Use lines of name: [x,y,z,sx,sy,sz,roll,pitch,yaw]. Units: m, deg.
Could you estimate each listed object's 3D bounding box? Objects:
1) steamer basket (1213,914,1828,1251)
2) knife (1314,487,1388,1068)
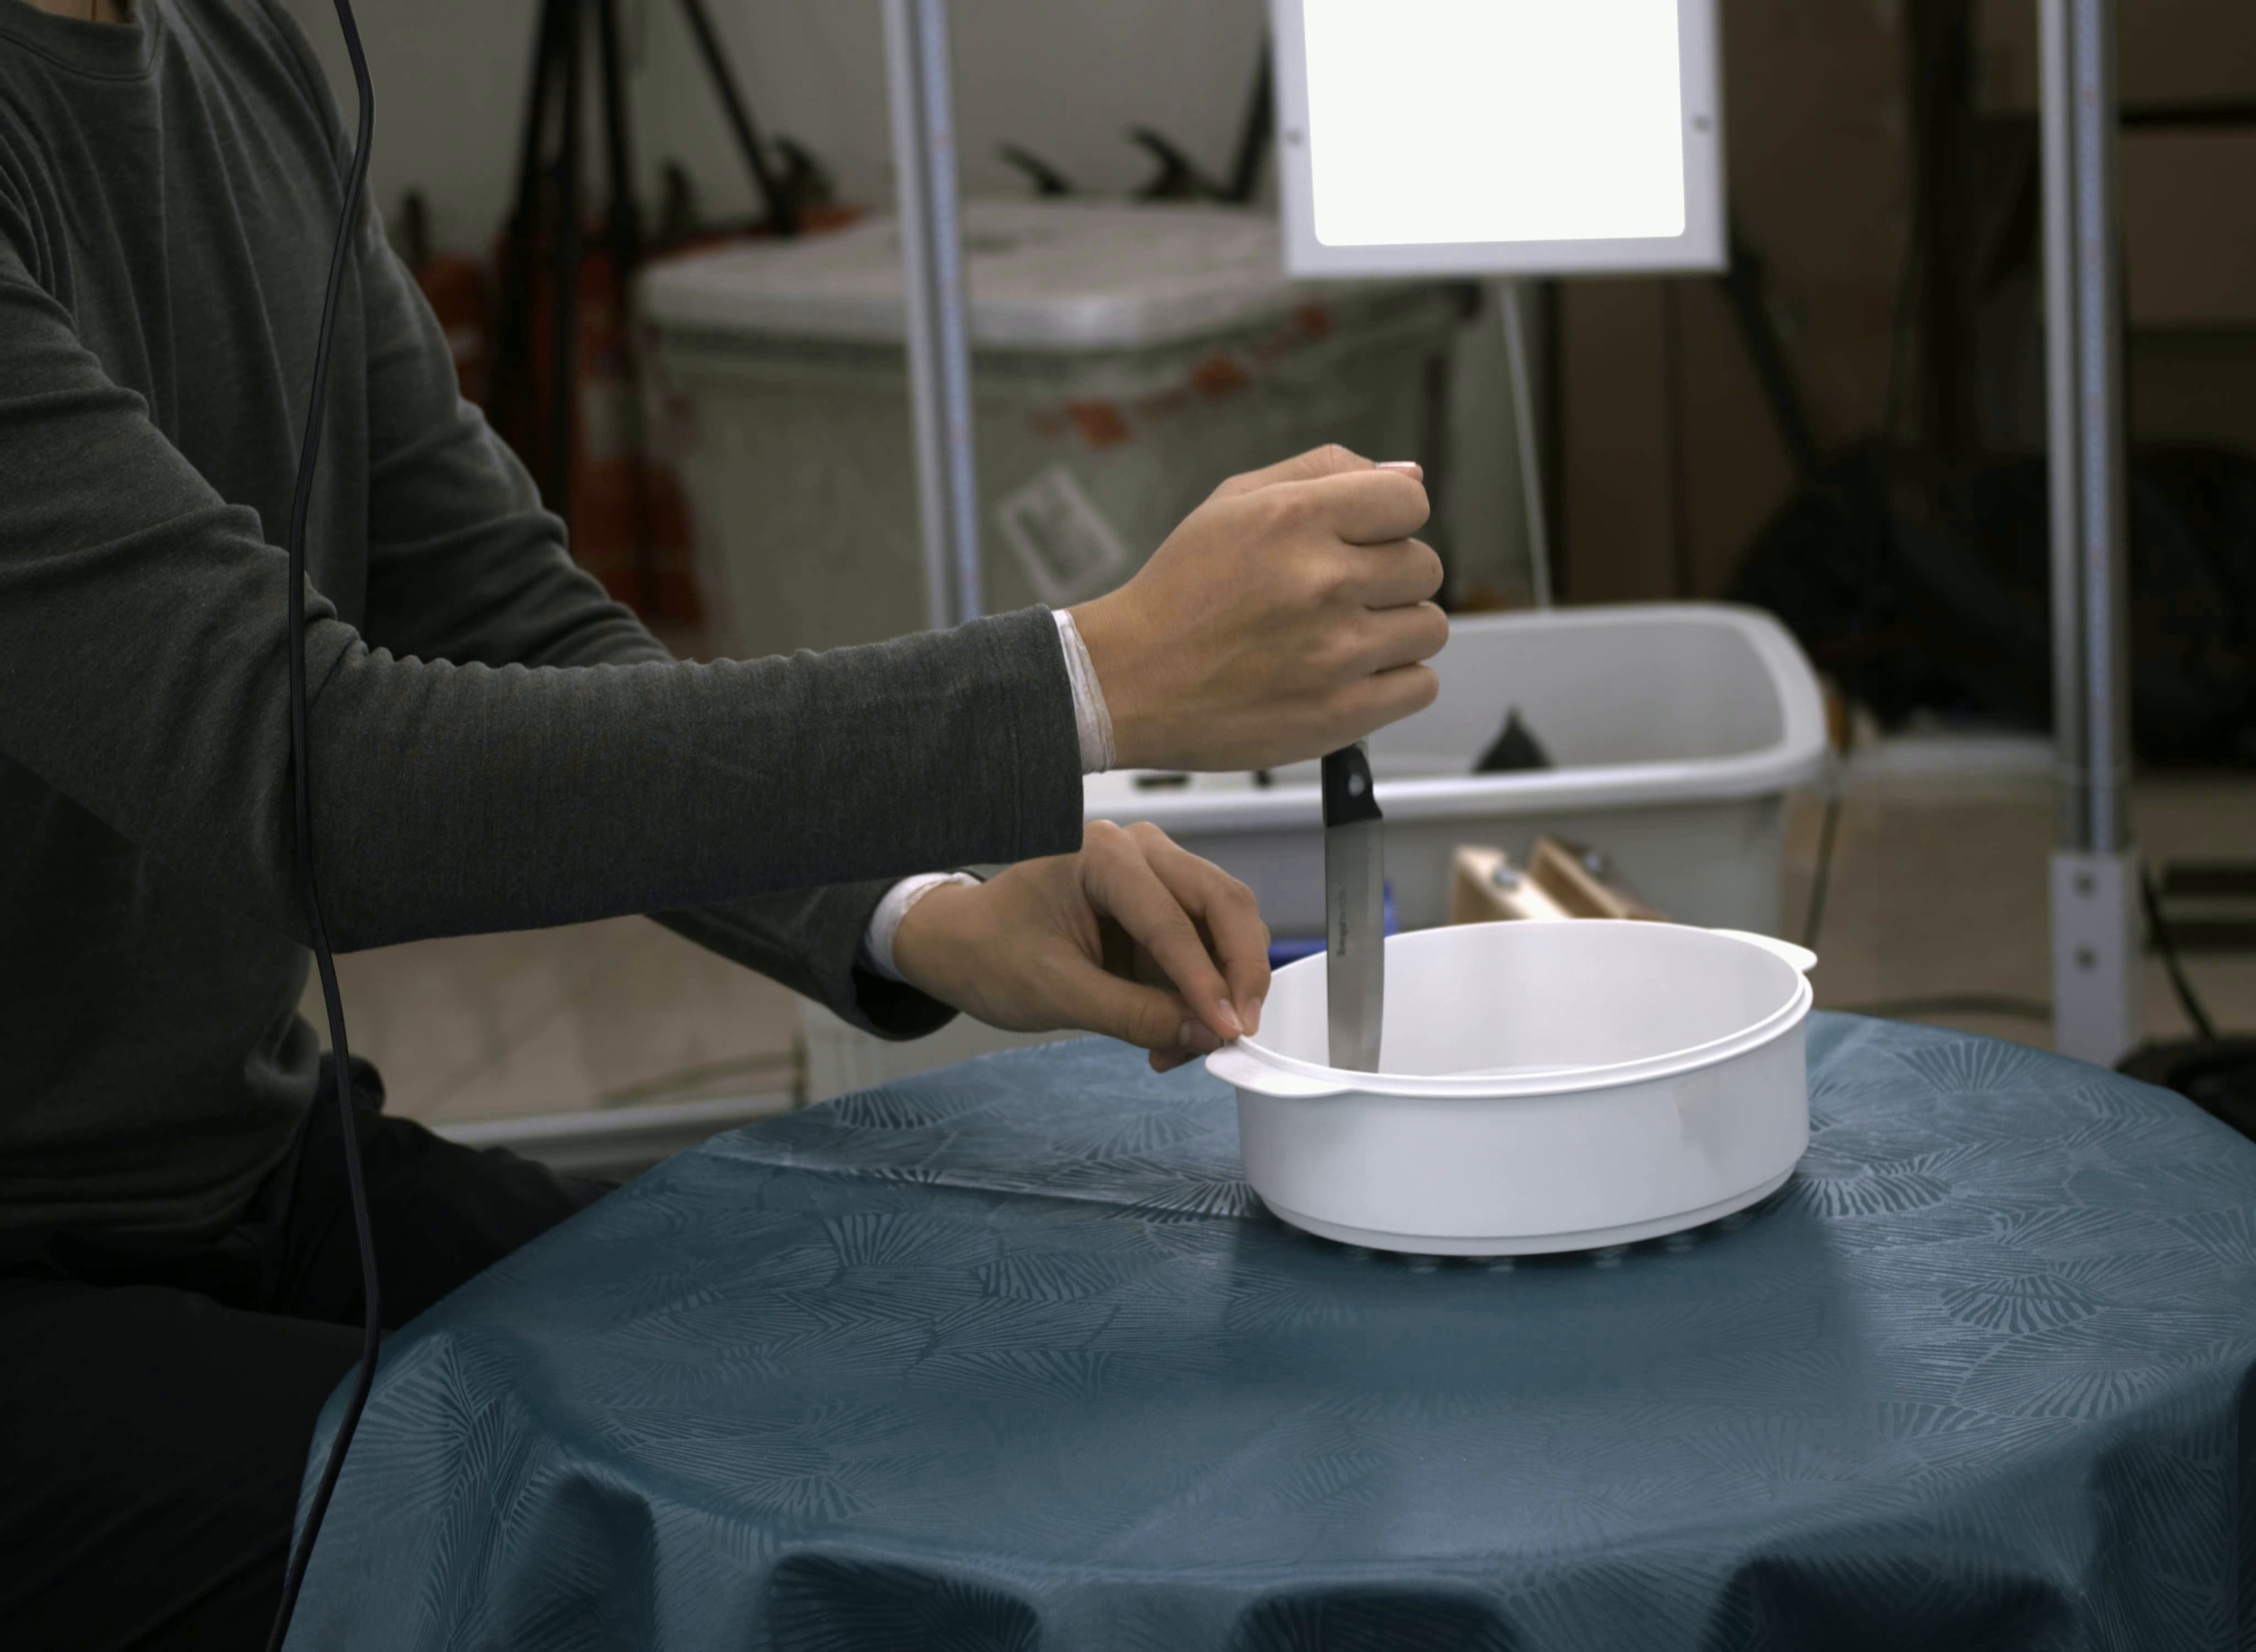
steamer basket: [0.138,0.087,1.868,0.225,0.069,0.205,-13,15,-27]
knife: [0.074,0.006,1.816,0.024,0.239,0.016,-7,16,-18]
